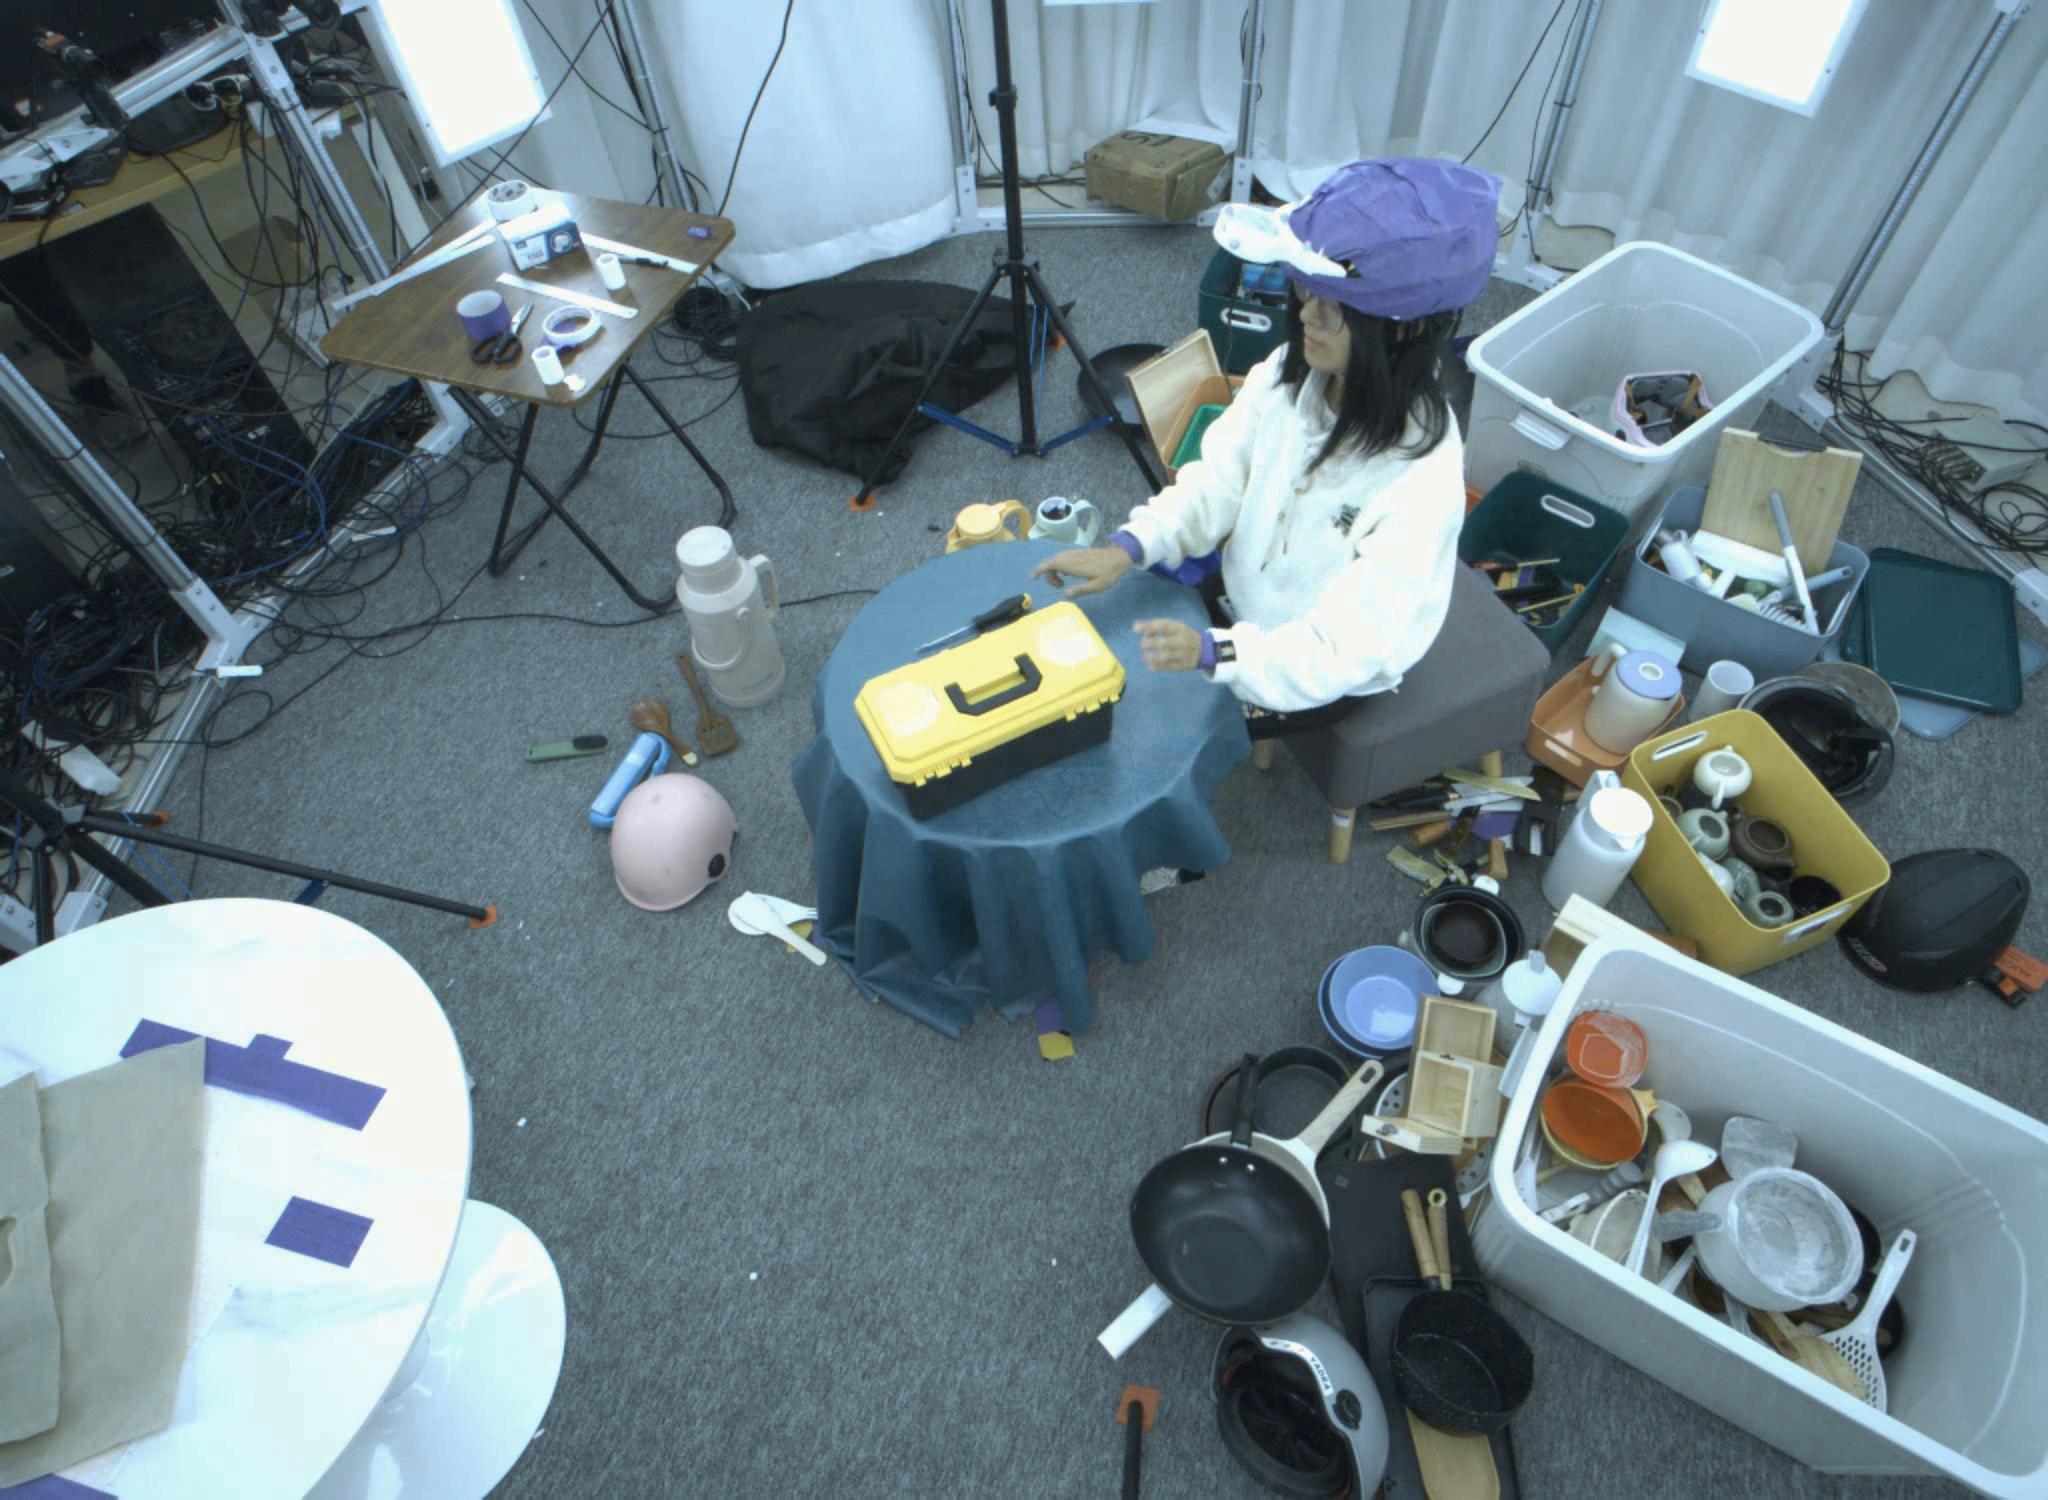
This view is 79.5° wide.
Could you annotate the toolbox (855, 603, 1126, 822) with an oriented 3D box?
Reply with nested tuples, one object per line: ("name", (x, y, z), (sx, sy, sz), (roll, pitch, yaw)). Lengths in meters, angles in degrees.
("toolbox", (-0.043, -0.052, 1.719), (0.354, 0.175, 0.178), (-24, 57, -13))

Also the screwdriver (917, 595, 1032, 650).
("screwdriver", (-0.078, -0.194, 1.922), (0.199, 0.032, 0.031), (-26, 58, -10))
